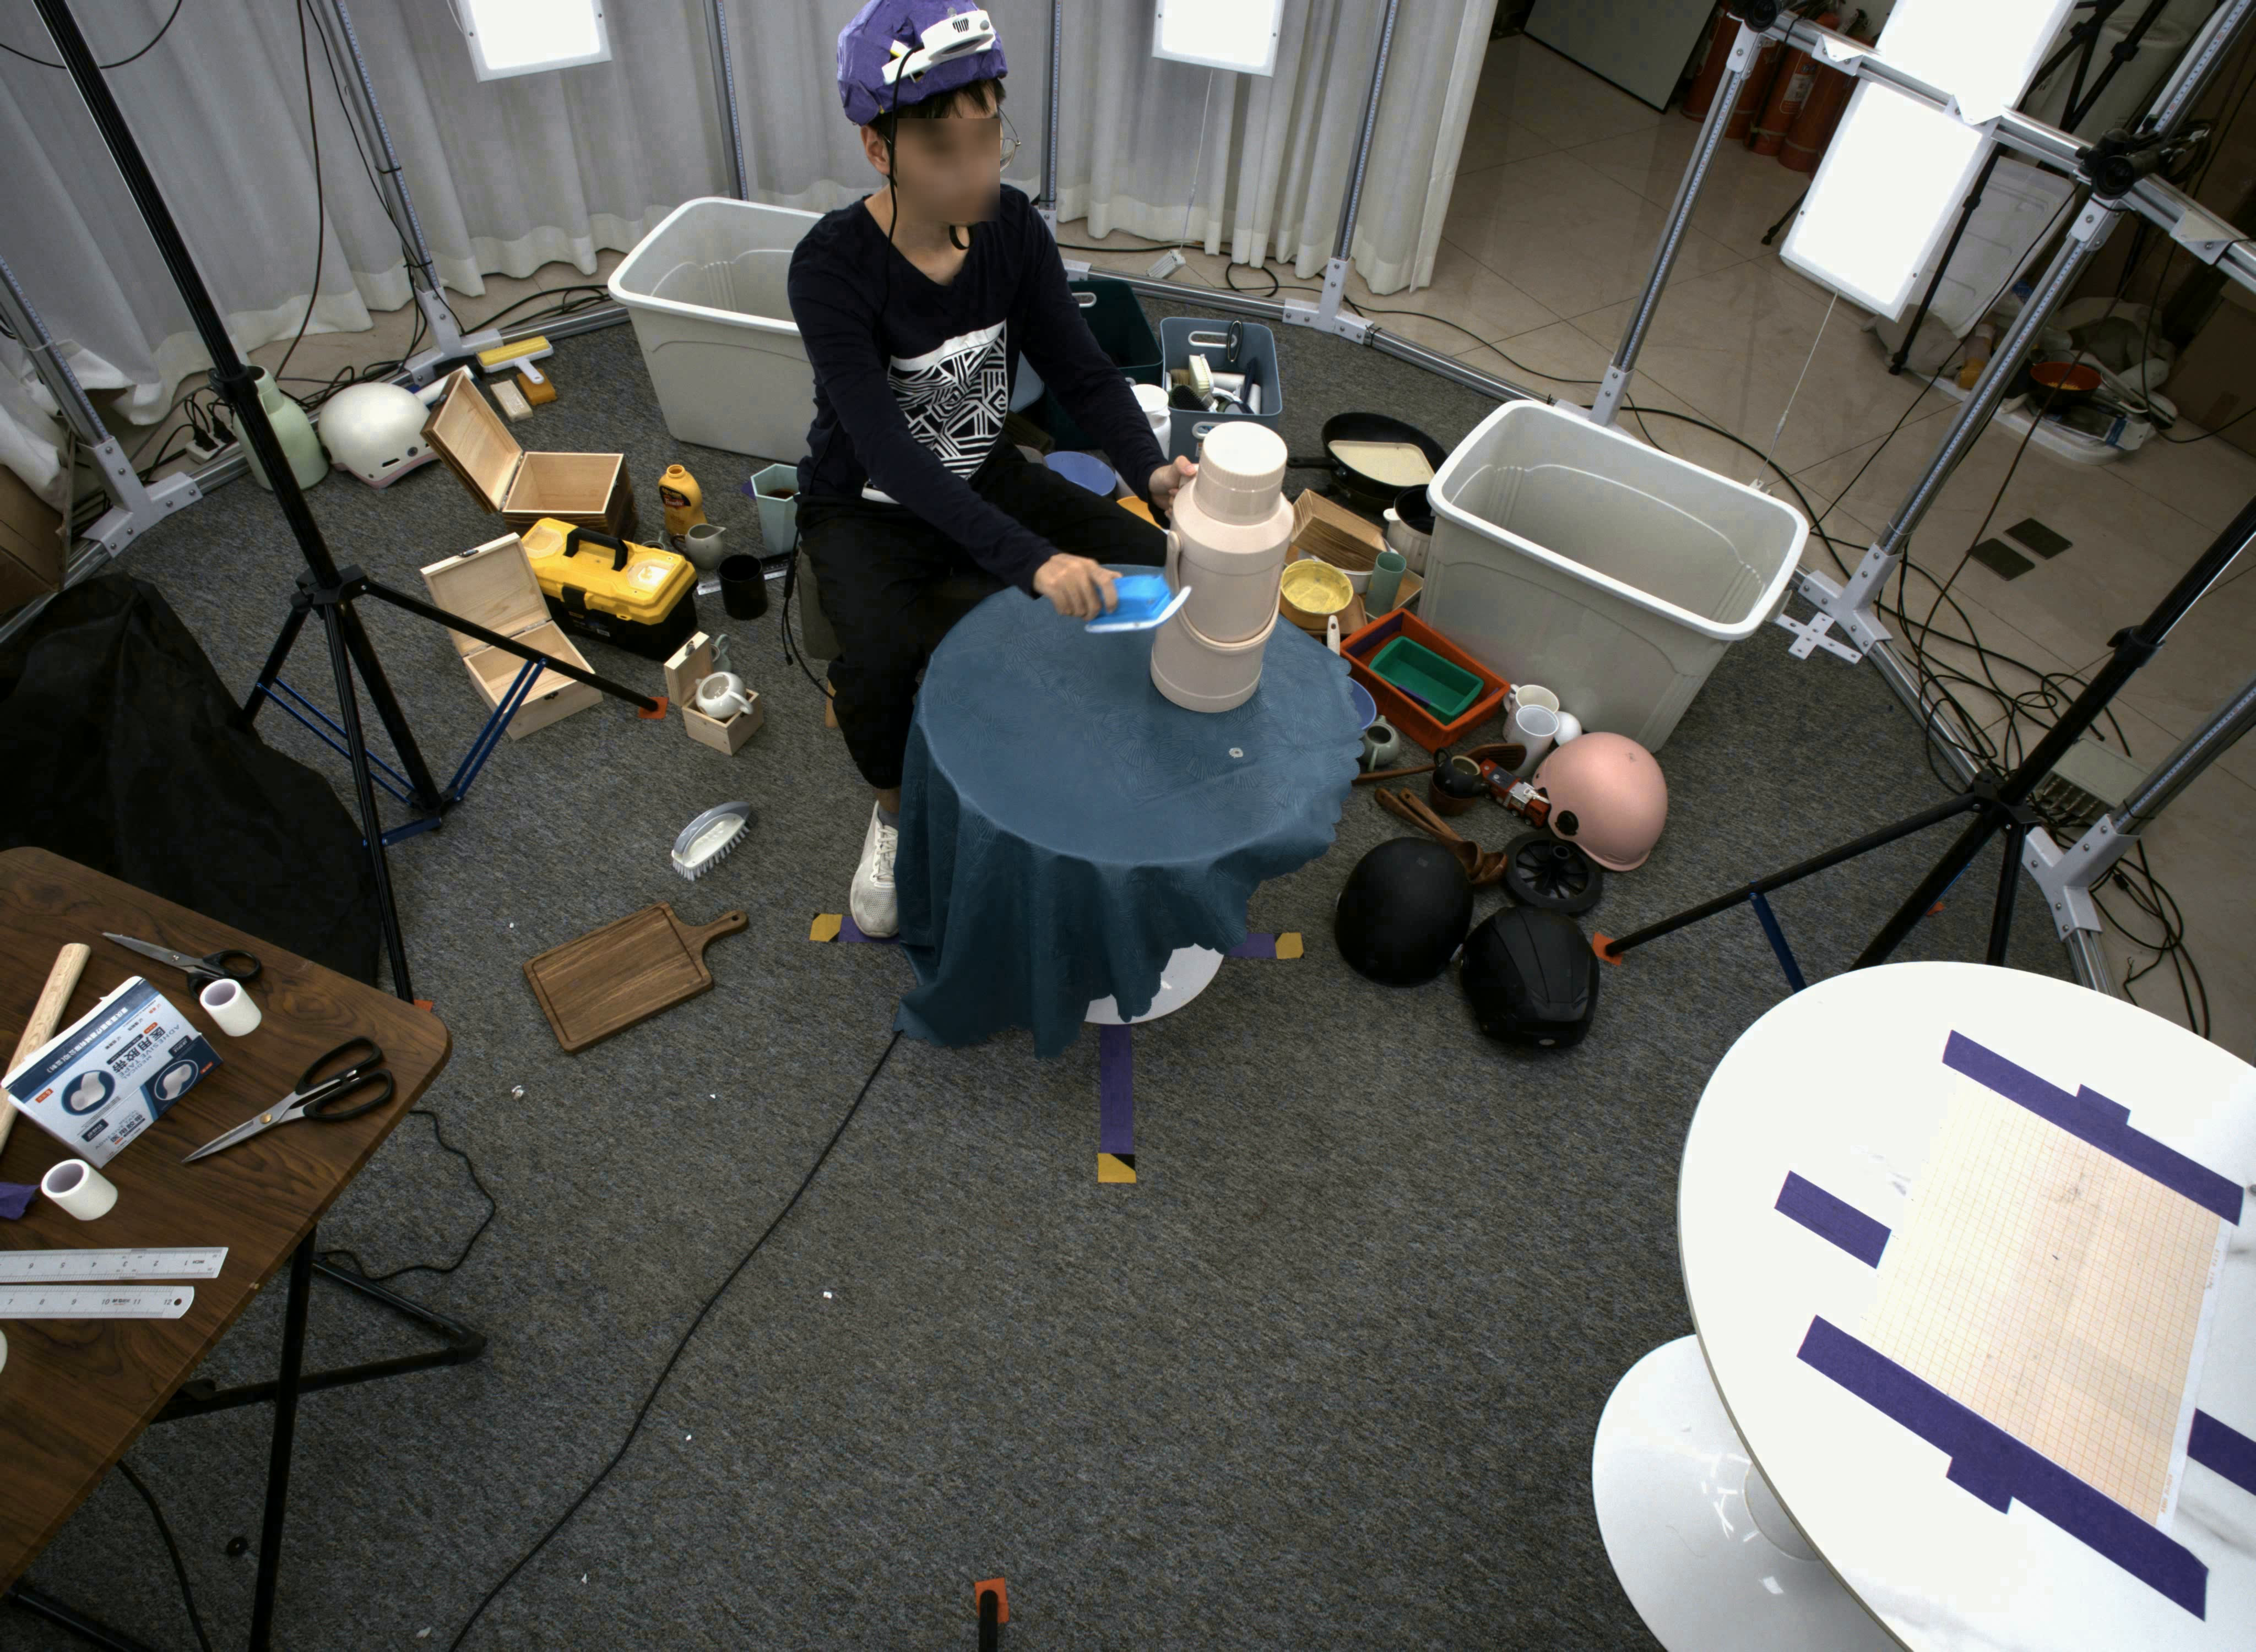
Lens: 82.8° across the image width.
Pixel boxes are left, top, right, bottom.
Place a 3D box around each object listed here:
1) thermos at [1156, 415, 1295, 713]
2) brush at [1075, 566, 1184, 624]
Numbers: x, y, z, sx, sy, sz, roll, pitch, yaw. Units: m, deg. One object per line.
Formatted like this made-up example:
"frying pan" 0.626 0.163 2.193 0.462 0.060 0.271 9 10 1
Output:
"thermos" 0.124 -0.353 1.721 0.176 0.396 0.211 -20 55 -18
"brush" -0.004 -0.290 1.597 0.145 0.055 0.085 6 43 45
